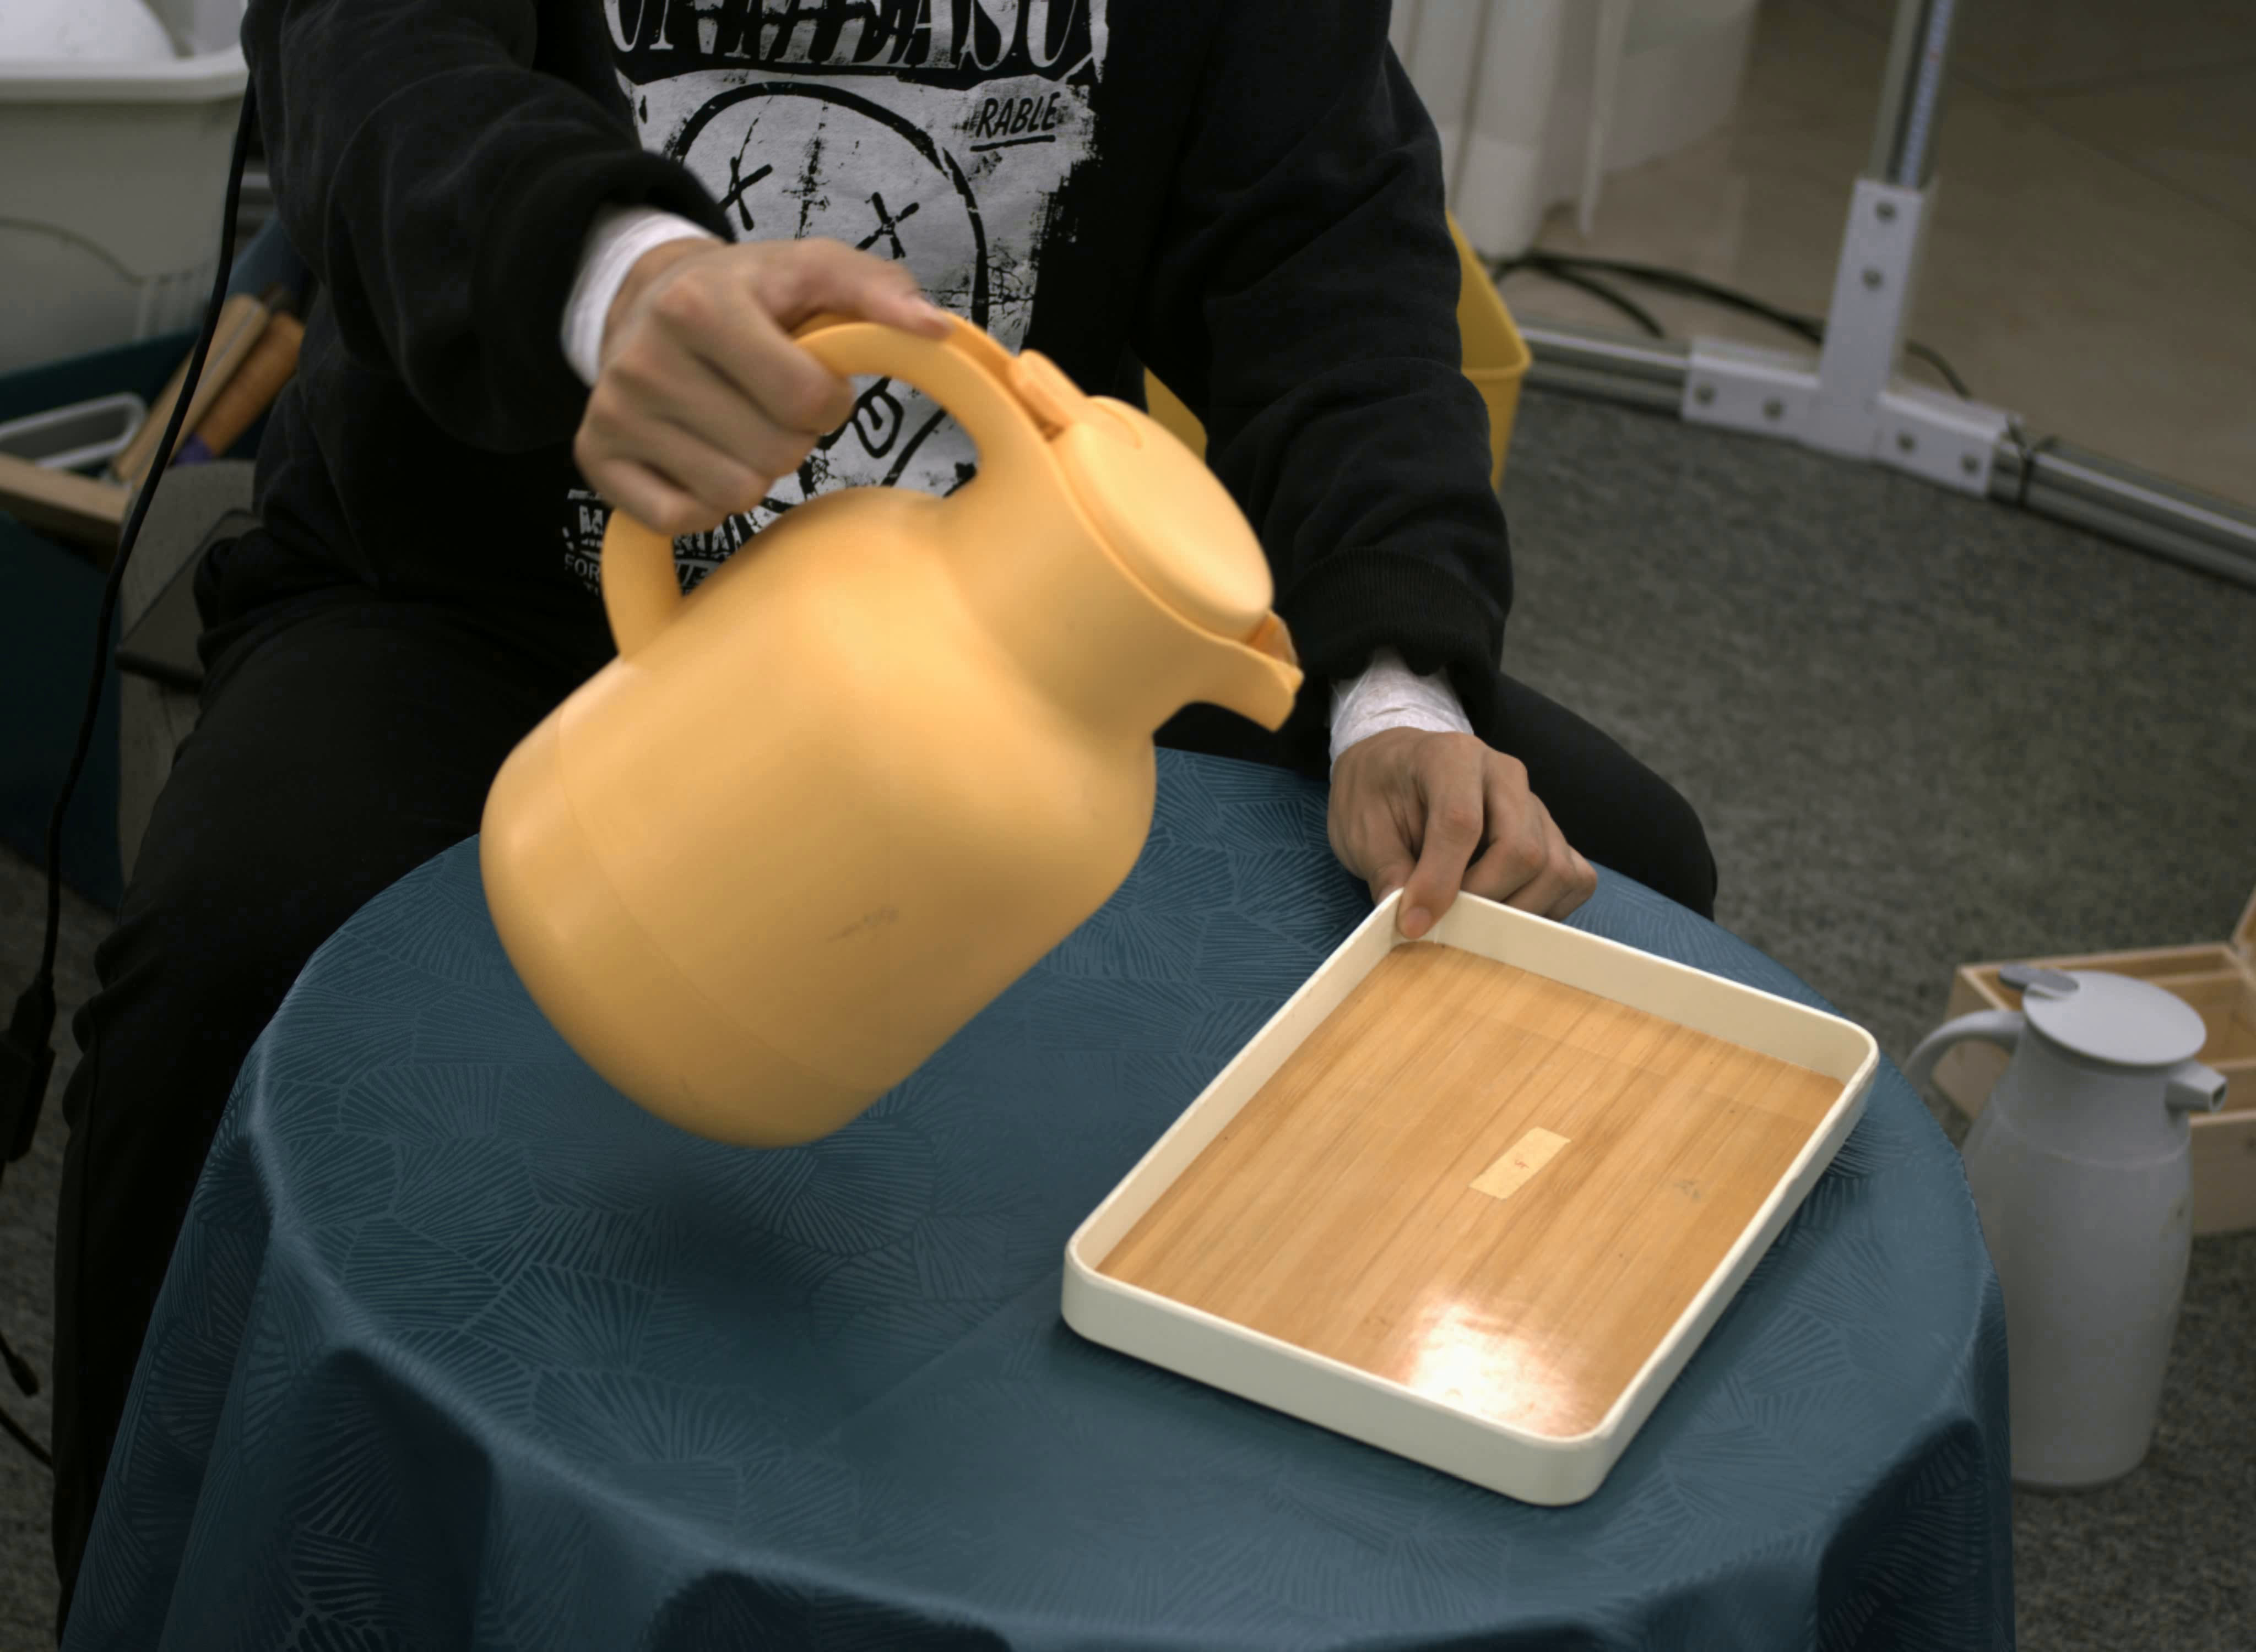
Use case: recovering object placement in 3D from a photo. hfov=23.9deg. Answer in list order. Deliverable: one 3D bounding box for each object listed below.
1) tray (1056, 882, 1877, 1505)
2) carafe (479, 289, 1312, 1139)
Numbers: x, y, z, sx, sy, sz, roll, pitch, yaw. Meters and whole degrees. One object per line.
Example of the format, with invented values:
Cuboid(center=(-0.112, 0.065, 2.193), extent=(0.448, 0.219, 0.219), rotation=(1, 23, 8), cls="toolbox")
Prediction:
Cuboid(center=(0.120, 0.117, 1.799), extent=(0.192, 0.027, 0.300), rotation=(19, 32, 20), cls="tray")
Cuboid(center=(-0.084, -0.042, 1.678), extent=(0.202, 0.260, 0.164), rotation=(49, 19, -9), cls="carafe")
